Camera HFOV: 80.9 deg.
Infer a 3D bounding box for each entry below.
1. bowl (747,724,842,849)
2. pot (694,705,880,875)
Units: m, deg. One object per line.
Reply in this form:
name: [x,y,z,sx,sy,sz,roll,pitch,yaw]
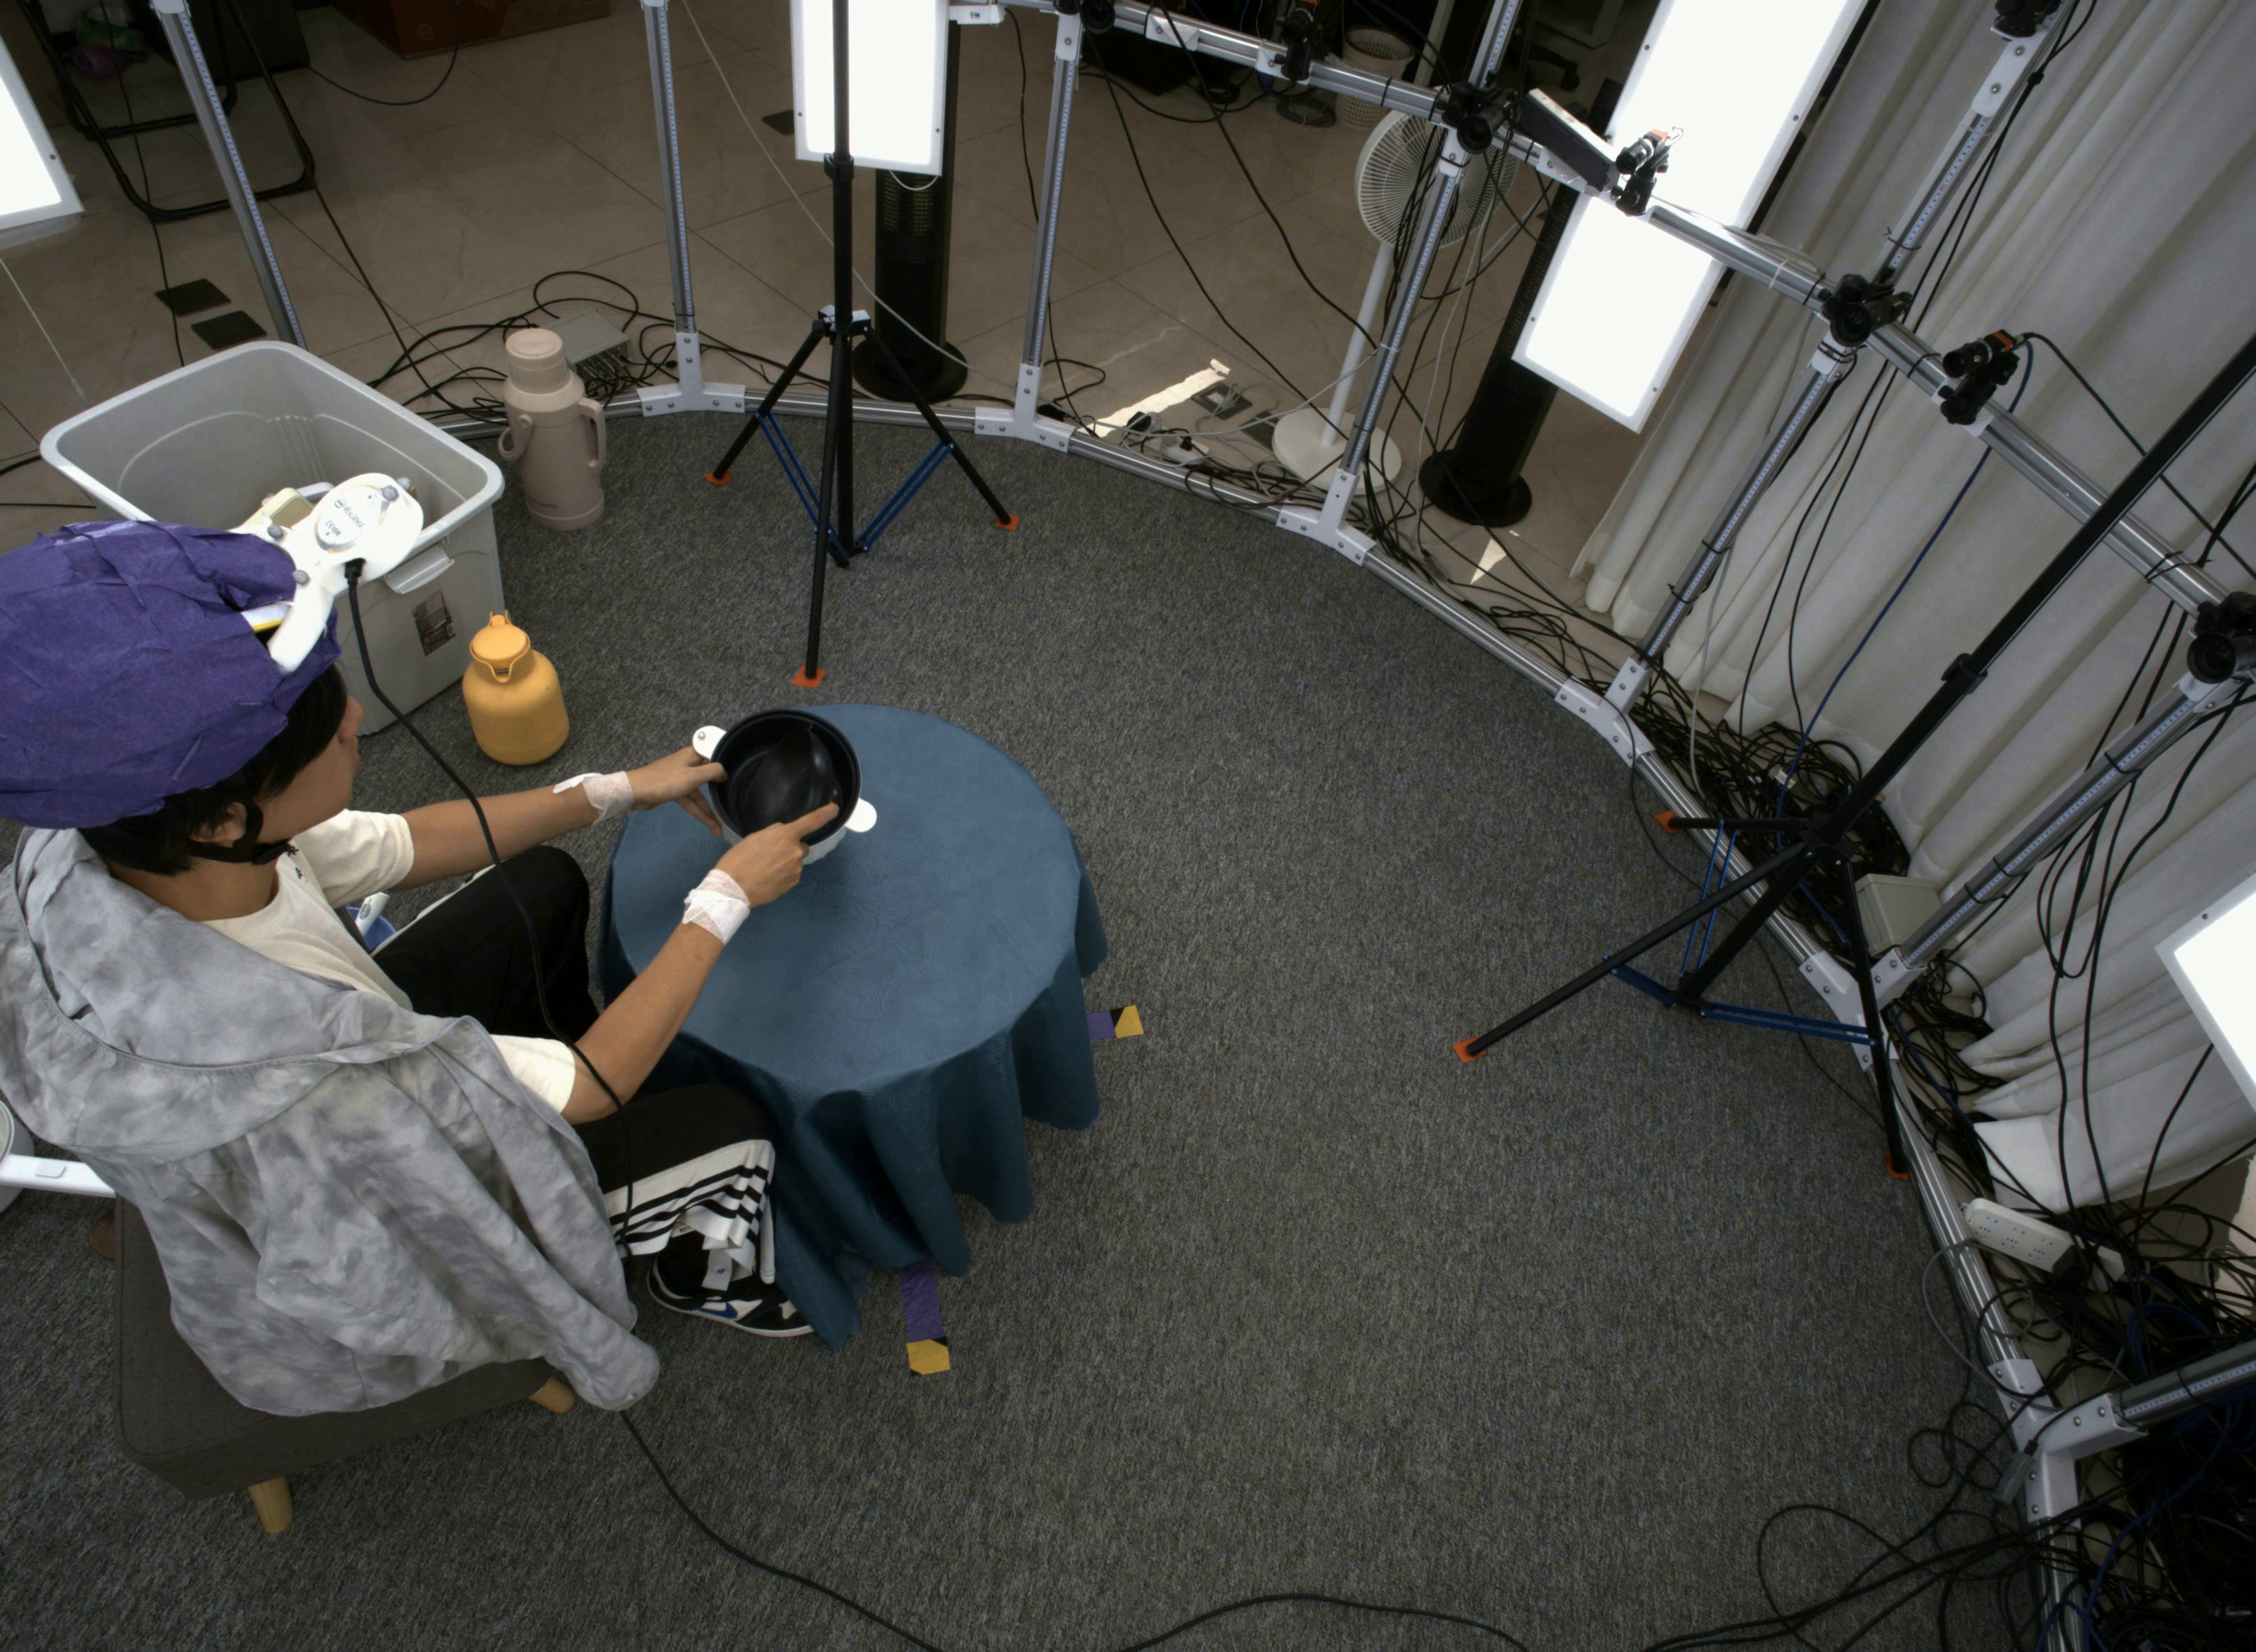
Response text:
bowl: [-0.380,-0.039,1.518,0.069,0.137,0.165,30,21,-37]
pot: [-0.422,-0.046,1.615,0.241,0.142,0.190,26,72,-9]
